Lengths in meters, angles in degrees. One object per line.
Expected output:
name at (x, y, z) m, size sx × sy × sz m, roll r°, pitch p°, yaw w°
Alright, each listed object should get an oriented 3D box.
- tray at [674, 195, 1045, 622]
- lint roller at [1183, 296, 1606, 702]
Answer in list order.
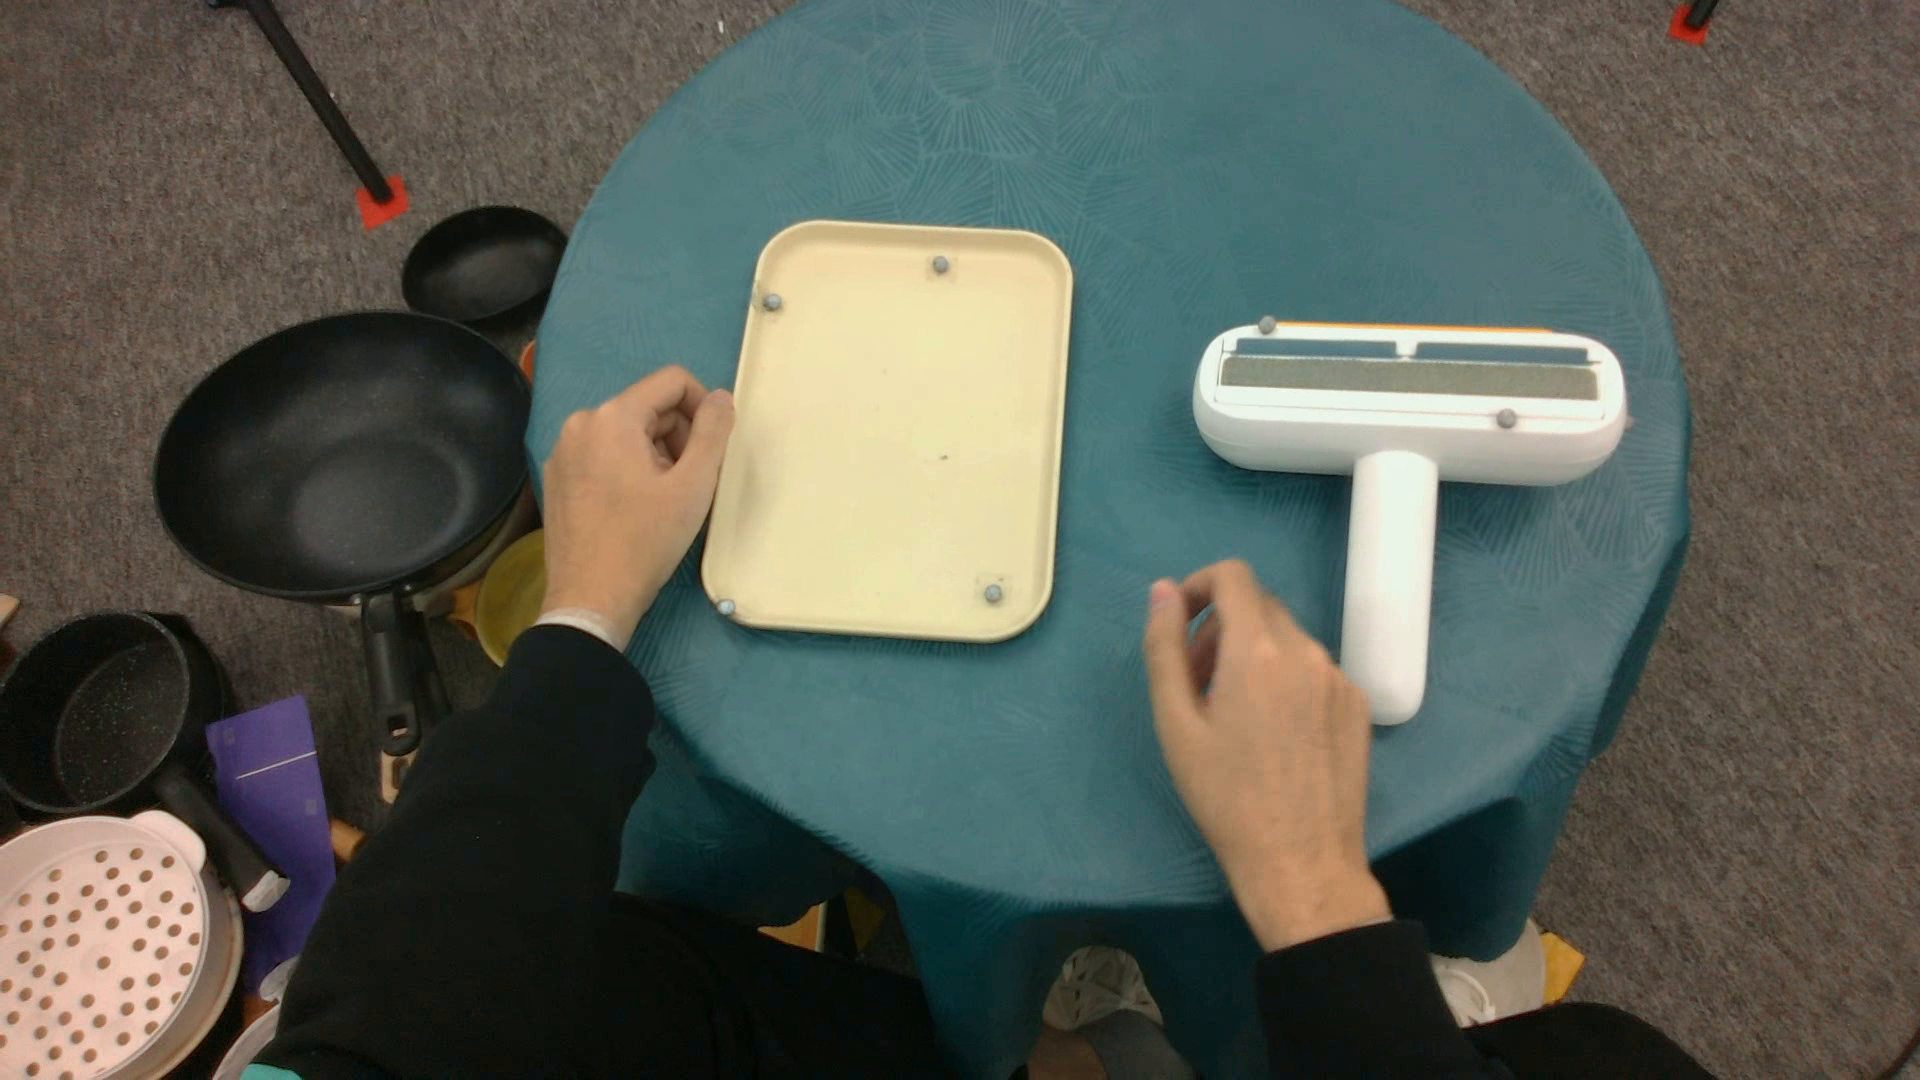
tray at (-0.046, -0.072, 0.699) m, size 0.171 × 0.017 × 0.240 m, roll 4°, pitch 65°, yaw 2°
lint roller at (0.192, -0.021, 0.644) m, size 0.193 × 0.074 × 0.193 m, roll 10°, pitch 67°, yaw 11°
